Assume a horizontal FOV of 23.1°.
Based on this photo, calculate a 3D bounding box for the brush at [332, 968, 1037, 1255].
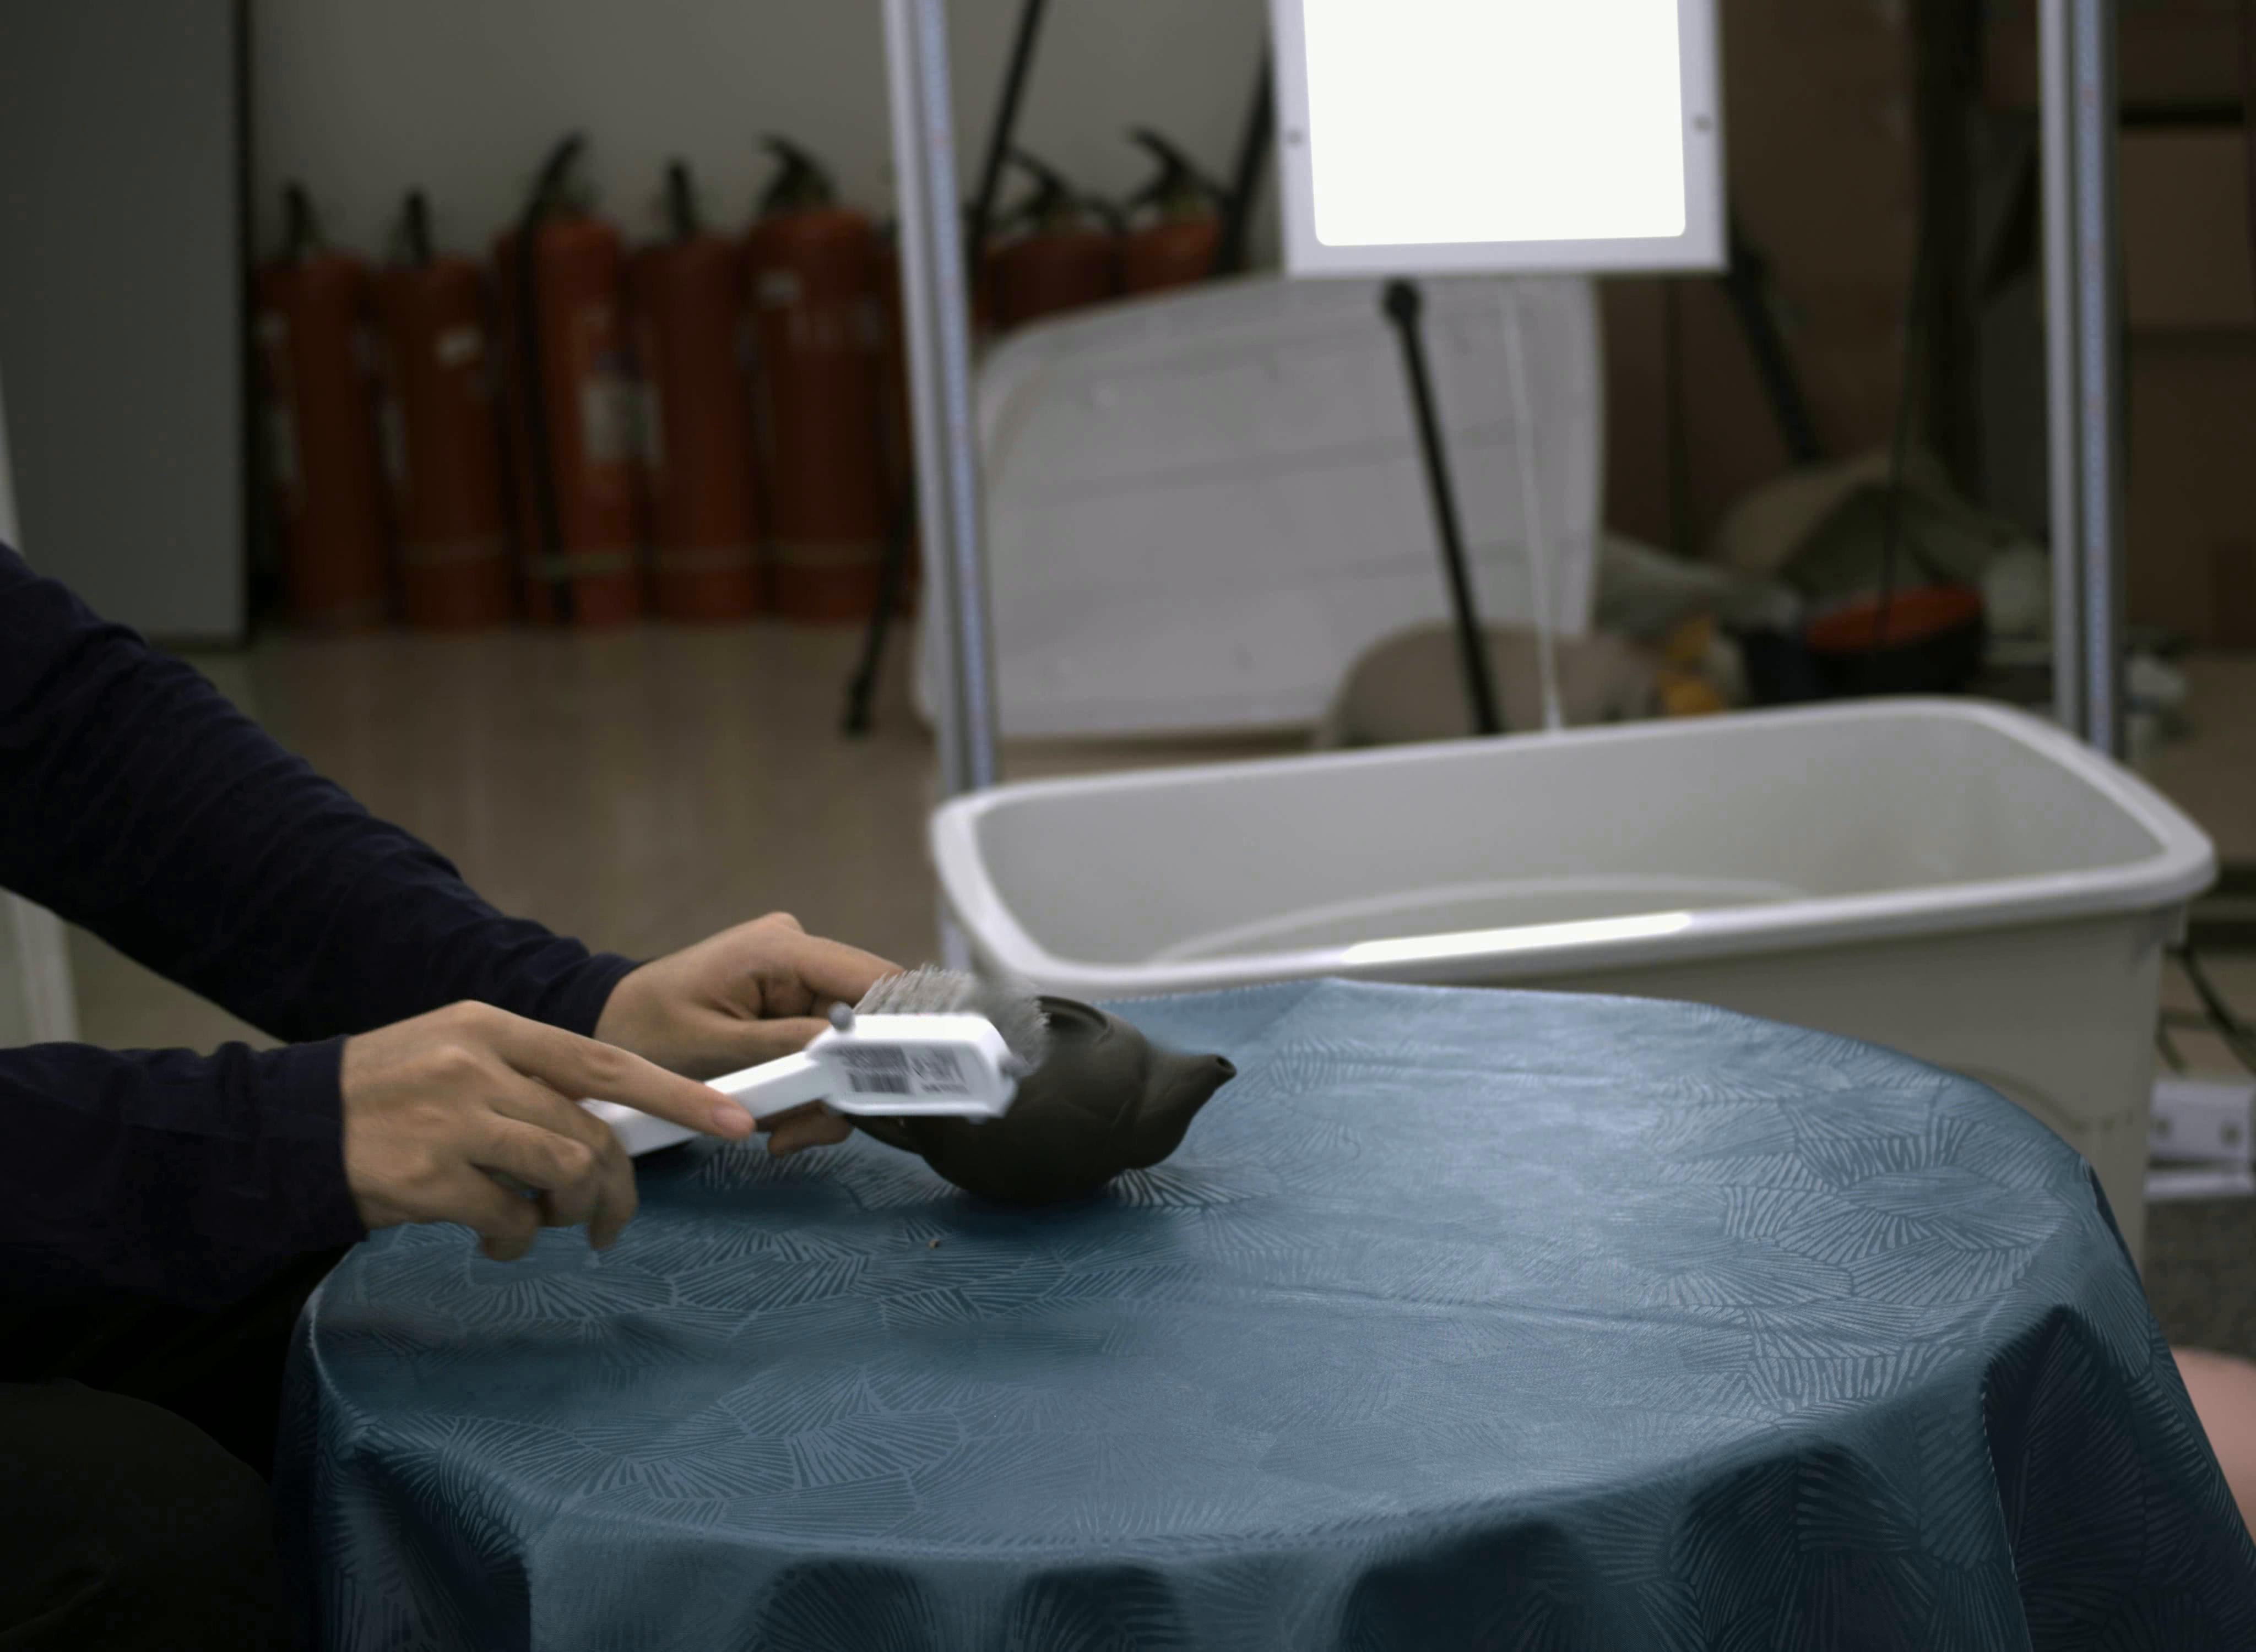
[{"bbox_3d":[-0.147,0.093,1.813,0.246,0.034,0.050,-16,25,17],"label":"brush"}]

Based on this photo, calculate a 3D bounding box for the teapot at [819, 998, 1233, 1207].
[{"bbox_3d":[-0.037,0.094,1.907,0.156,0.065,0.091,6,18,19],"label":"teapot"}]
